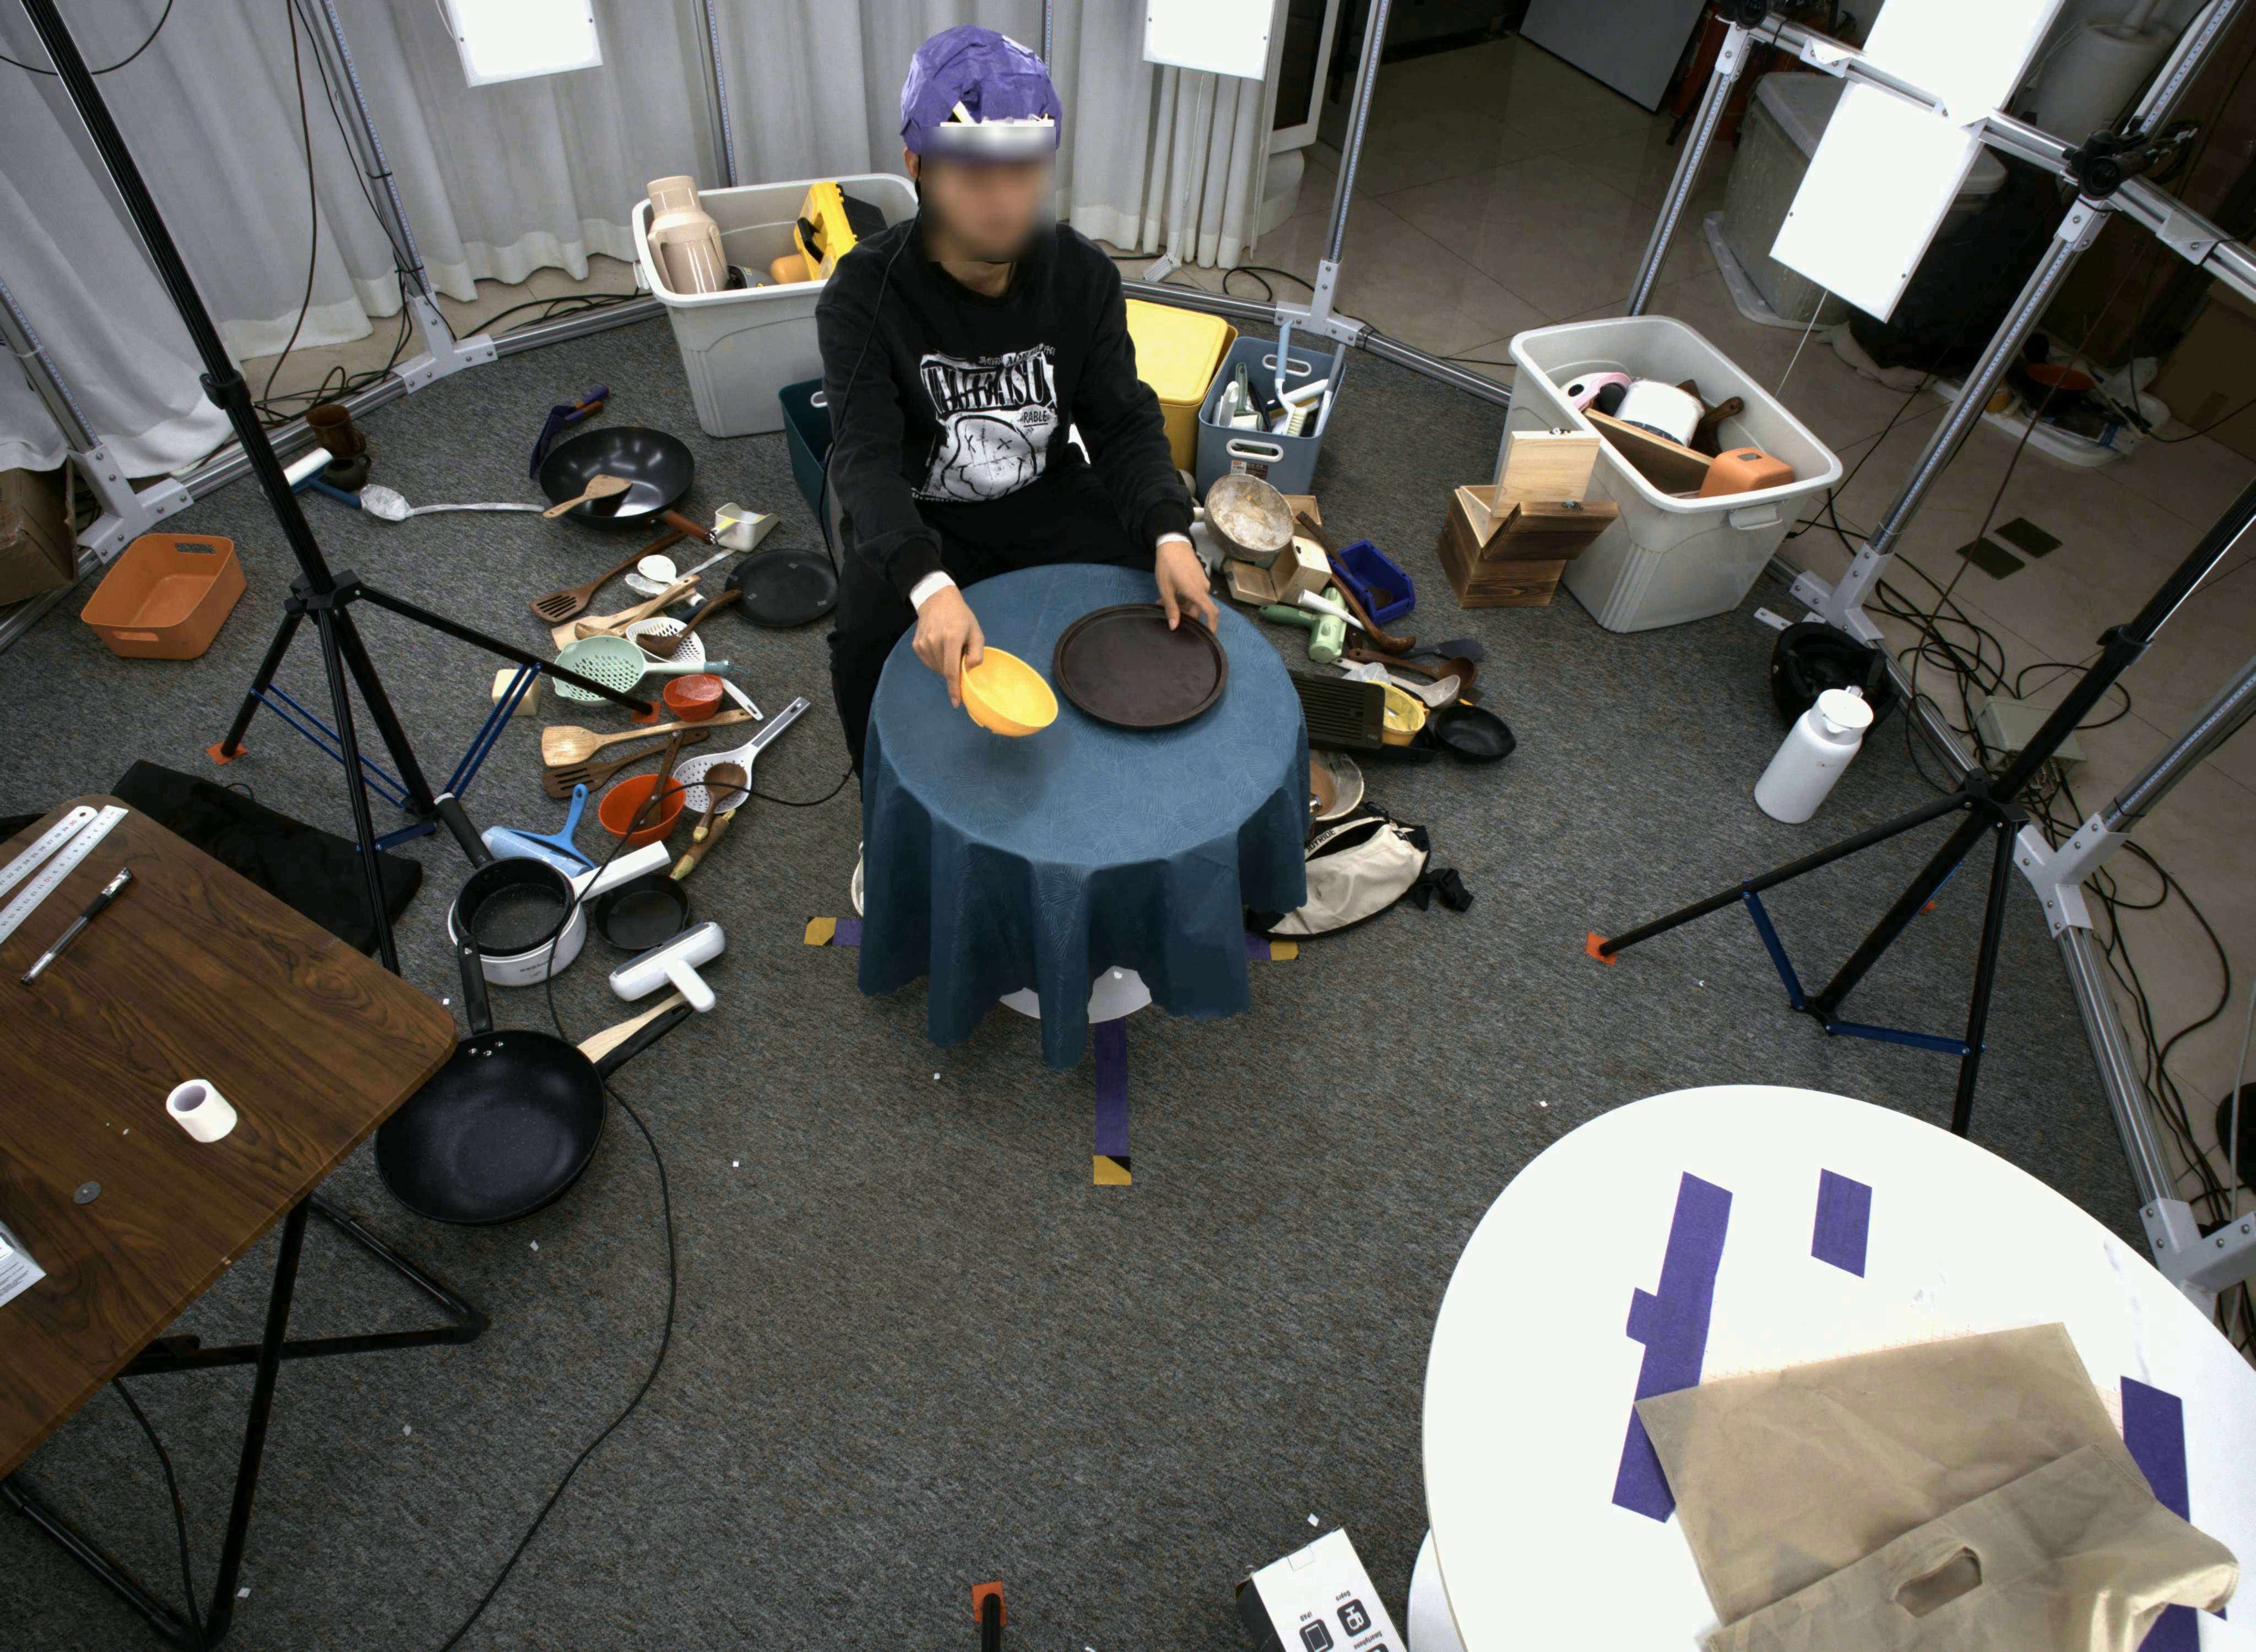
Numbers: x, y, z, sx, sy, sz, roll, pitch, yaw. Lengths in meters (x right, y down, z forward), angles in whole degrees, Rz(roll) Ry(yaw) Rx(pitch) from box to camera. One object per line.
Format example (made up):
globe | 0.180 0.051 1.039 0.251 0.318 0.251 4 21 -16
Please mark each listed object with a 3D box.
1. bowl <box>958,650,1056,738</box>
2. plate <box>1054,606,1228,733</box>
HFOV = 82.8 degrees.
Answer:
bowl | -0.170 -0.162 1.696 0.144 0.059 0.148 30 29 -19
plate | 0.019 -0.229 1.869 0.254 0.028 0.261 0 49 0
